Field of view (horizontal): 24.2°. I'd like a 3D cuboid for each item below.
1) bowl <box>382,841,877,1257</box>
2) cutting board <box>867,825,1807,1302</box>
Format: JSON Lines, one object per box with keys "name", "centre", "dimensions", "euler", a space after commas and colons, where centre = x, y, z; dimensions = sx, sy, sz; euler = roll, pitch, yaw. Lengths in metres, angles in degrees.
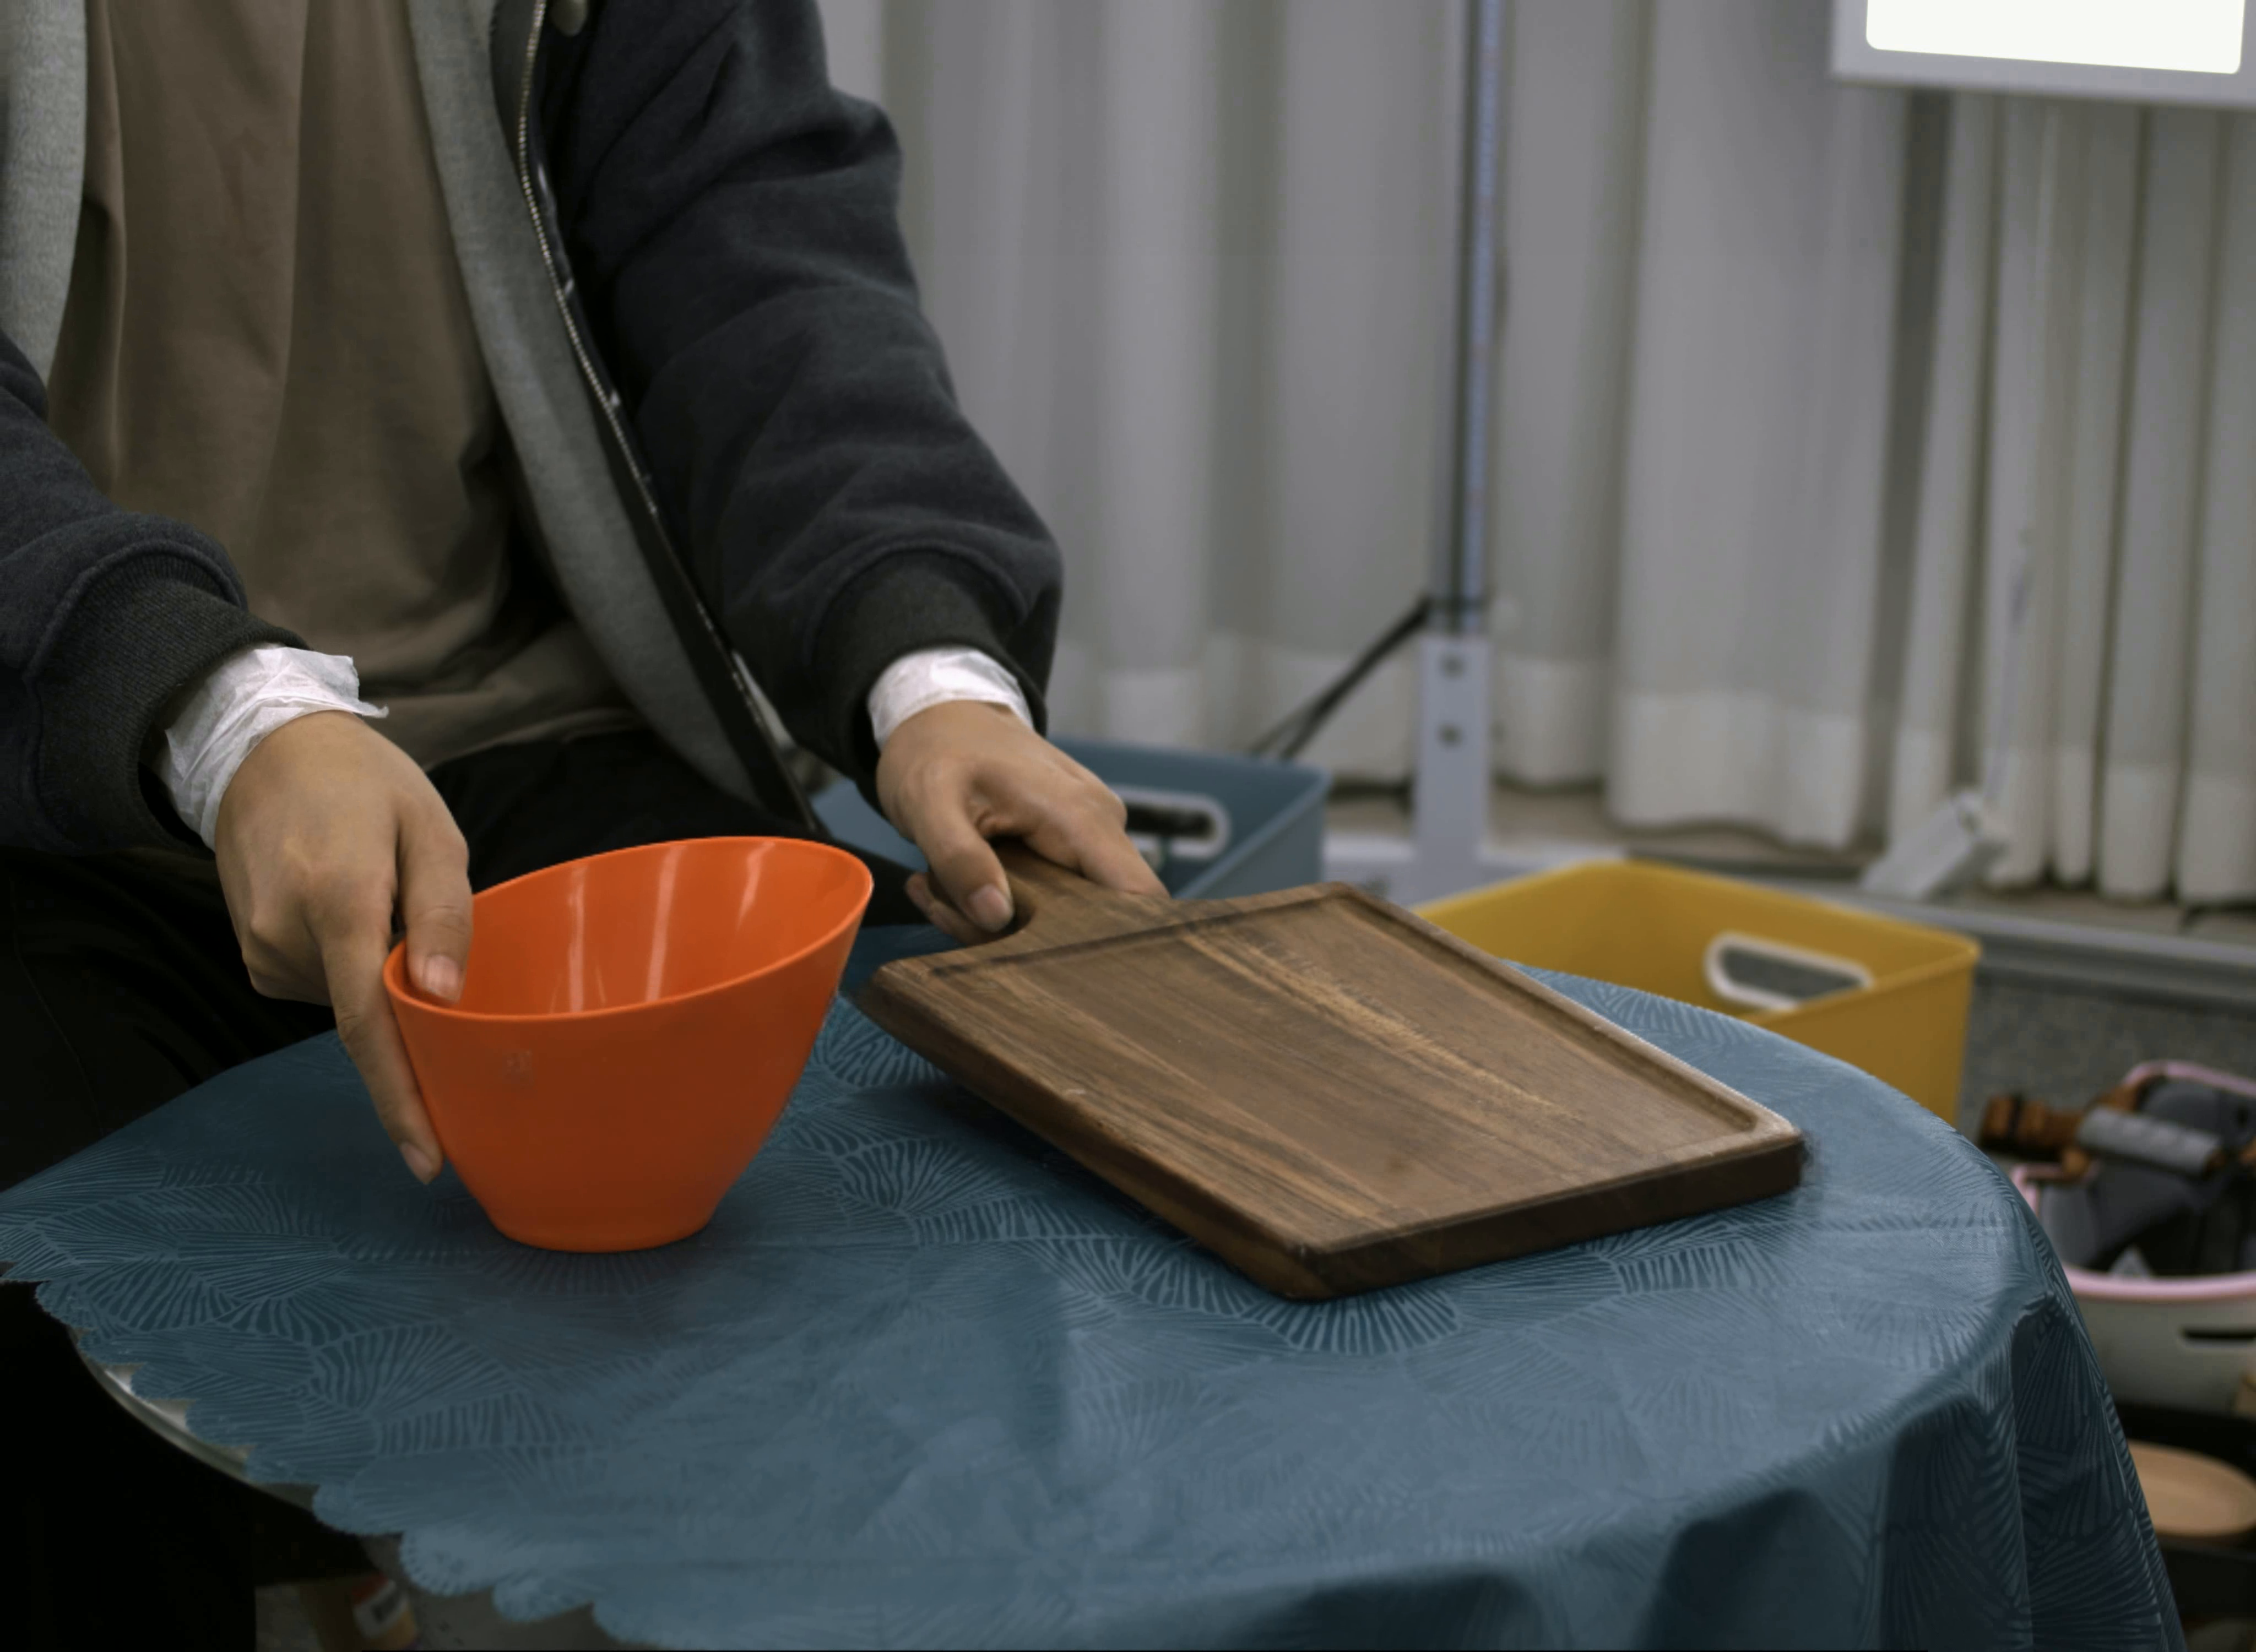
{"name": "bowl", "centre": [-0.149, 0.069, 1.583], "dimensions": [0.147, 0.105, 0.147], "euler": [1, 16, 0]}
{"name": "cutting board", "centre": [0.036, 0.063, 1.706], "dimensions": [0.202, 0.023, 0.347], "euler": [-10, 24, -33]}
